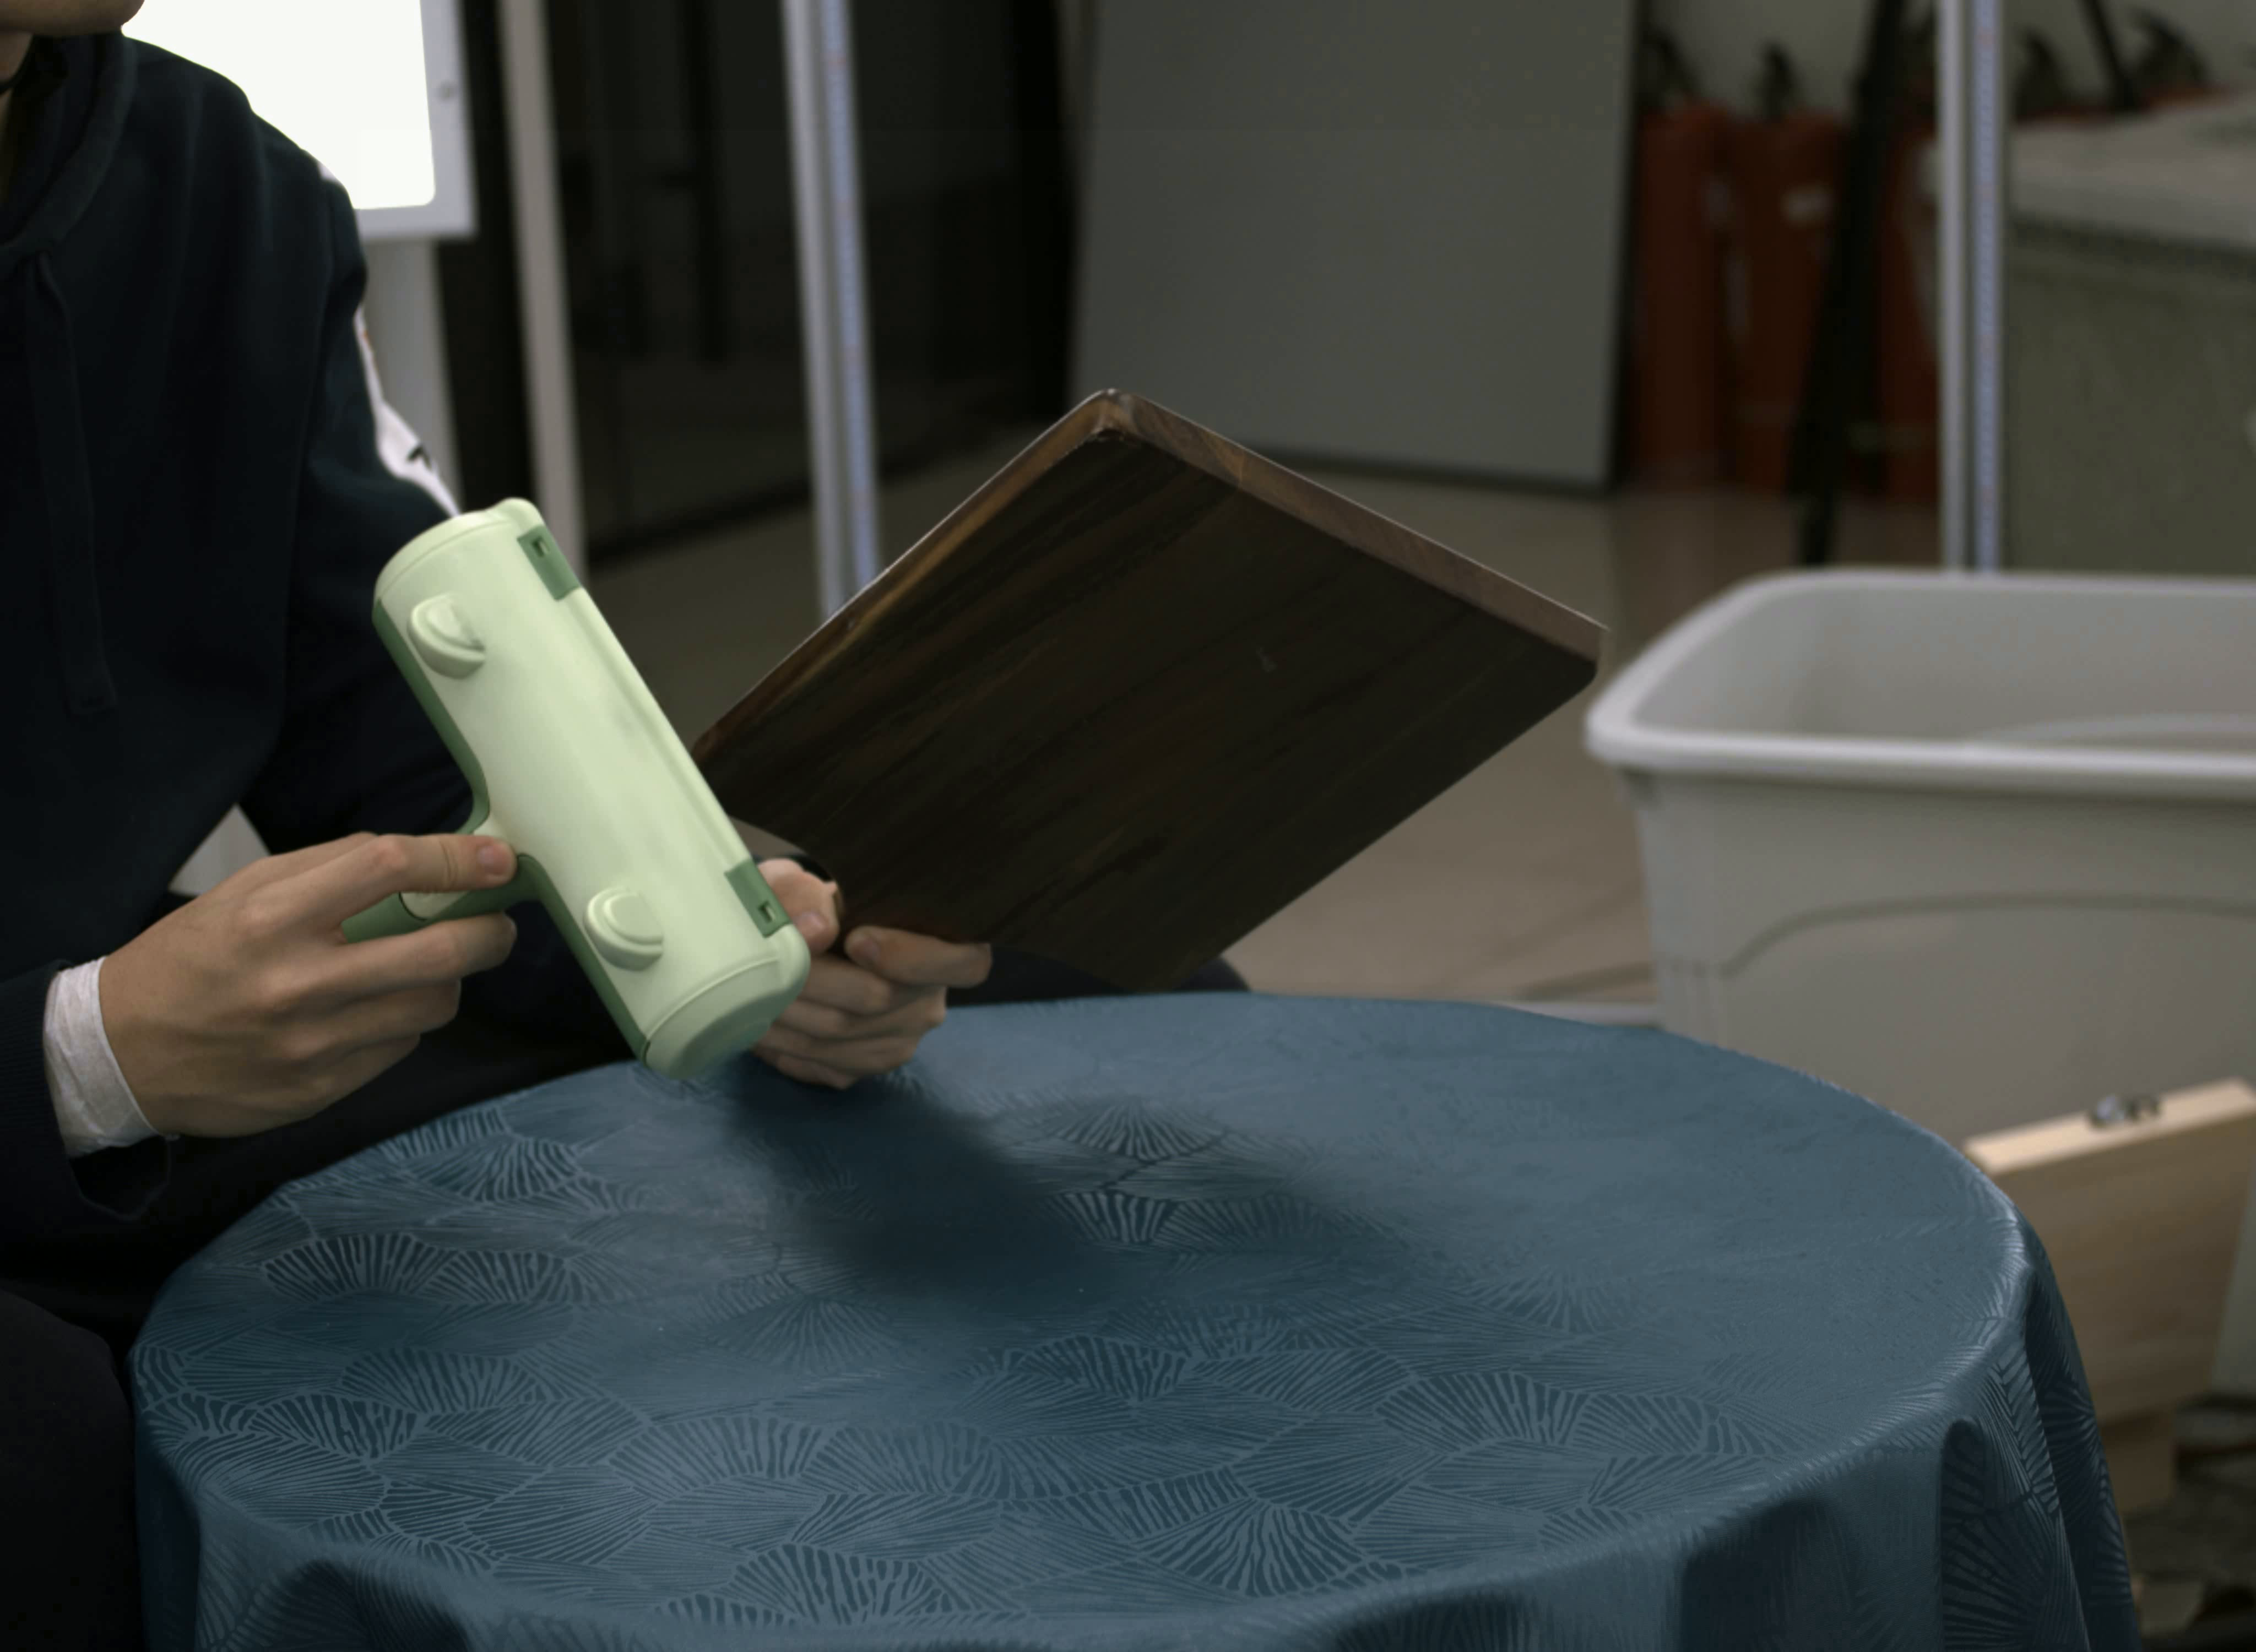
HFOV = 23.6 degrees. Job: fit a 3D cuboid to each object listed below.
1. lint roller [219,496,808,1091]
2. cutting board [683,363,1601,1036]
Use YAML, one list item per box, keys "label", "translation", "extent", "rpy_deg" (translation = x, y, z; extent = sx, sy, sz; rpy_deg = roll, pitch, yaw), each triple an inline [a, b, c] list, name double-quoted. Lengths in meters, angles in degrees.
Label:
- label: "lint roller"
  translation: [-0.221, 0.019, 1.717]
  extent: [0.182, 0.201, 0.081]
  rpy_deg: [-33, -20, 2]
- label: "cutting board"
  translation: [-0.026, -0.016, 1.763]
  extent: [0.197, 0.023, 0.355]
  rpy_deg: [25, -41, -24]
